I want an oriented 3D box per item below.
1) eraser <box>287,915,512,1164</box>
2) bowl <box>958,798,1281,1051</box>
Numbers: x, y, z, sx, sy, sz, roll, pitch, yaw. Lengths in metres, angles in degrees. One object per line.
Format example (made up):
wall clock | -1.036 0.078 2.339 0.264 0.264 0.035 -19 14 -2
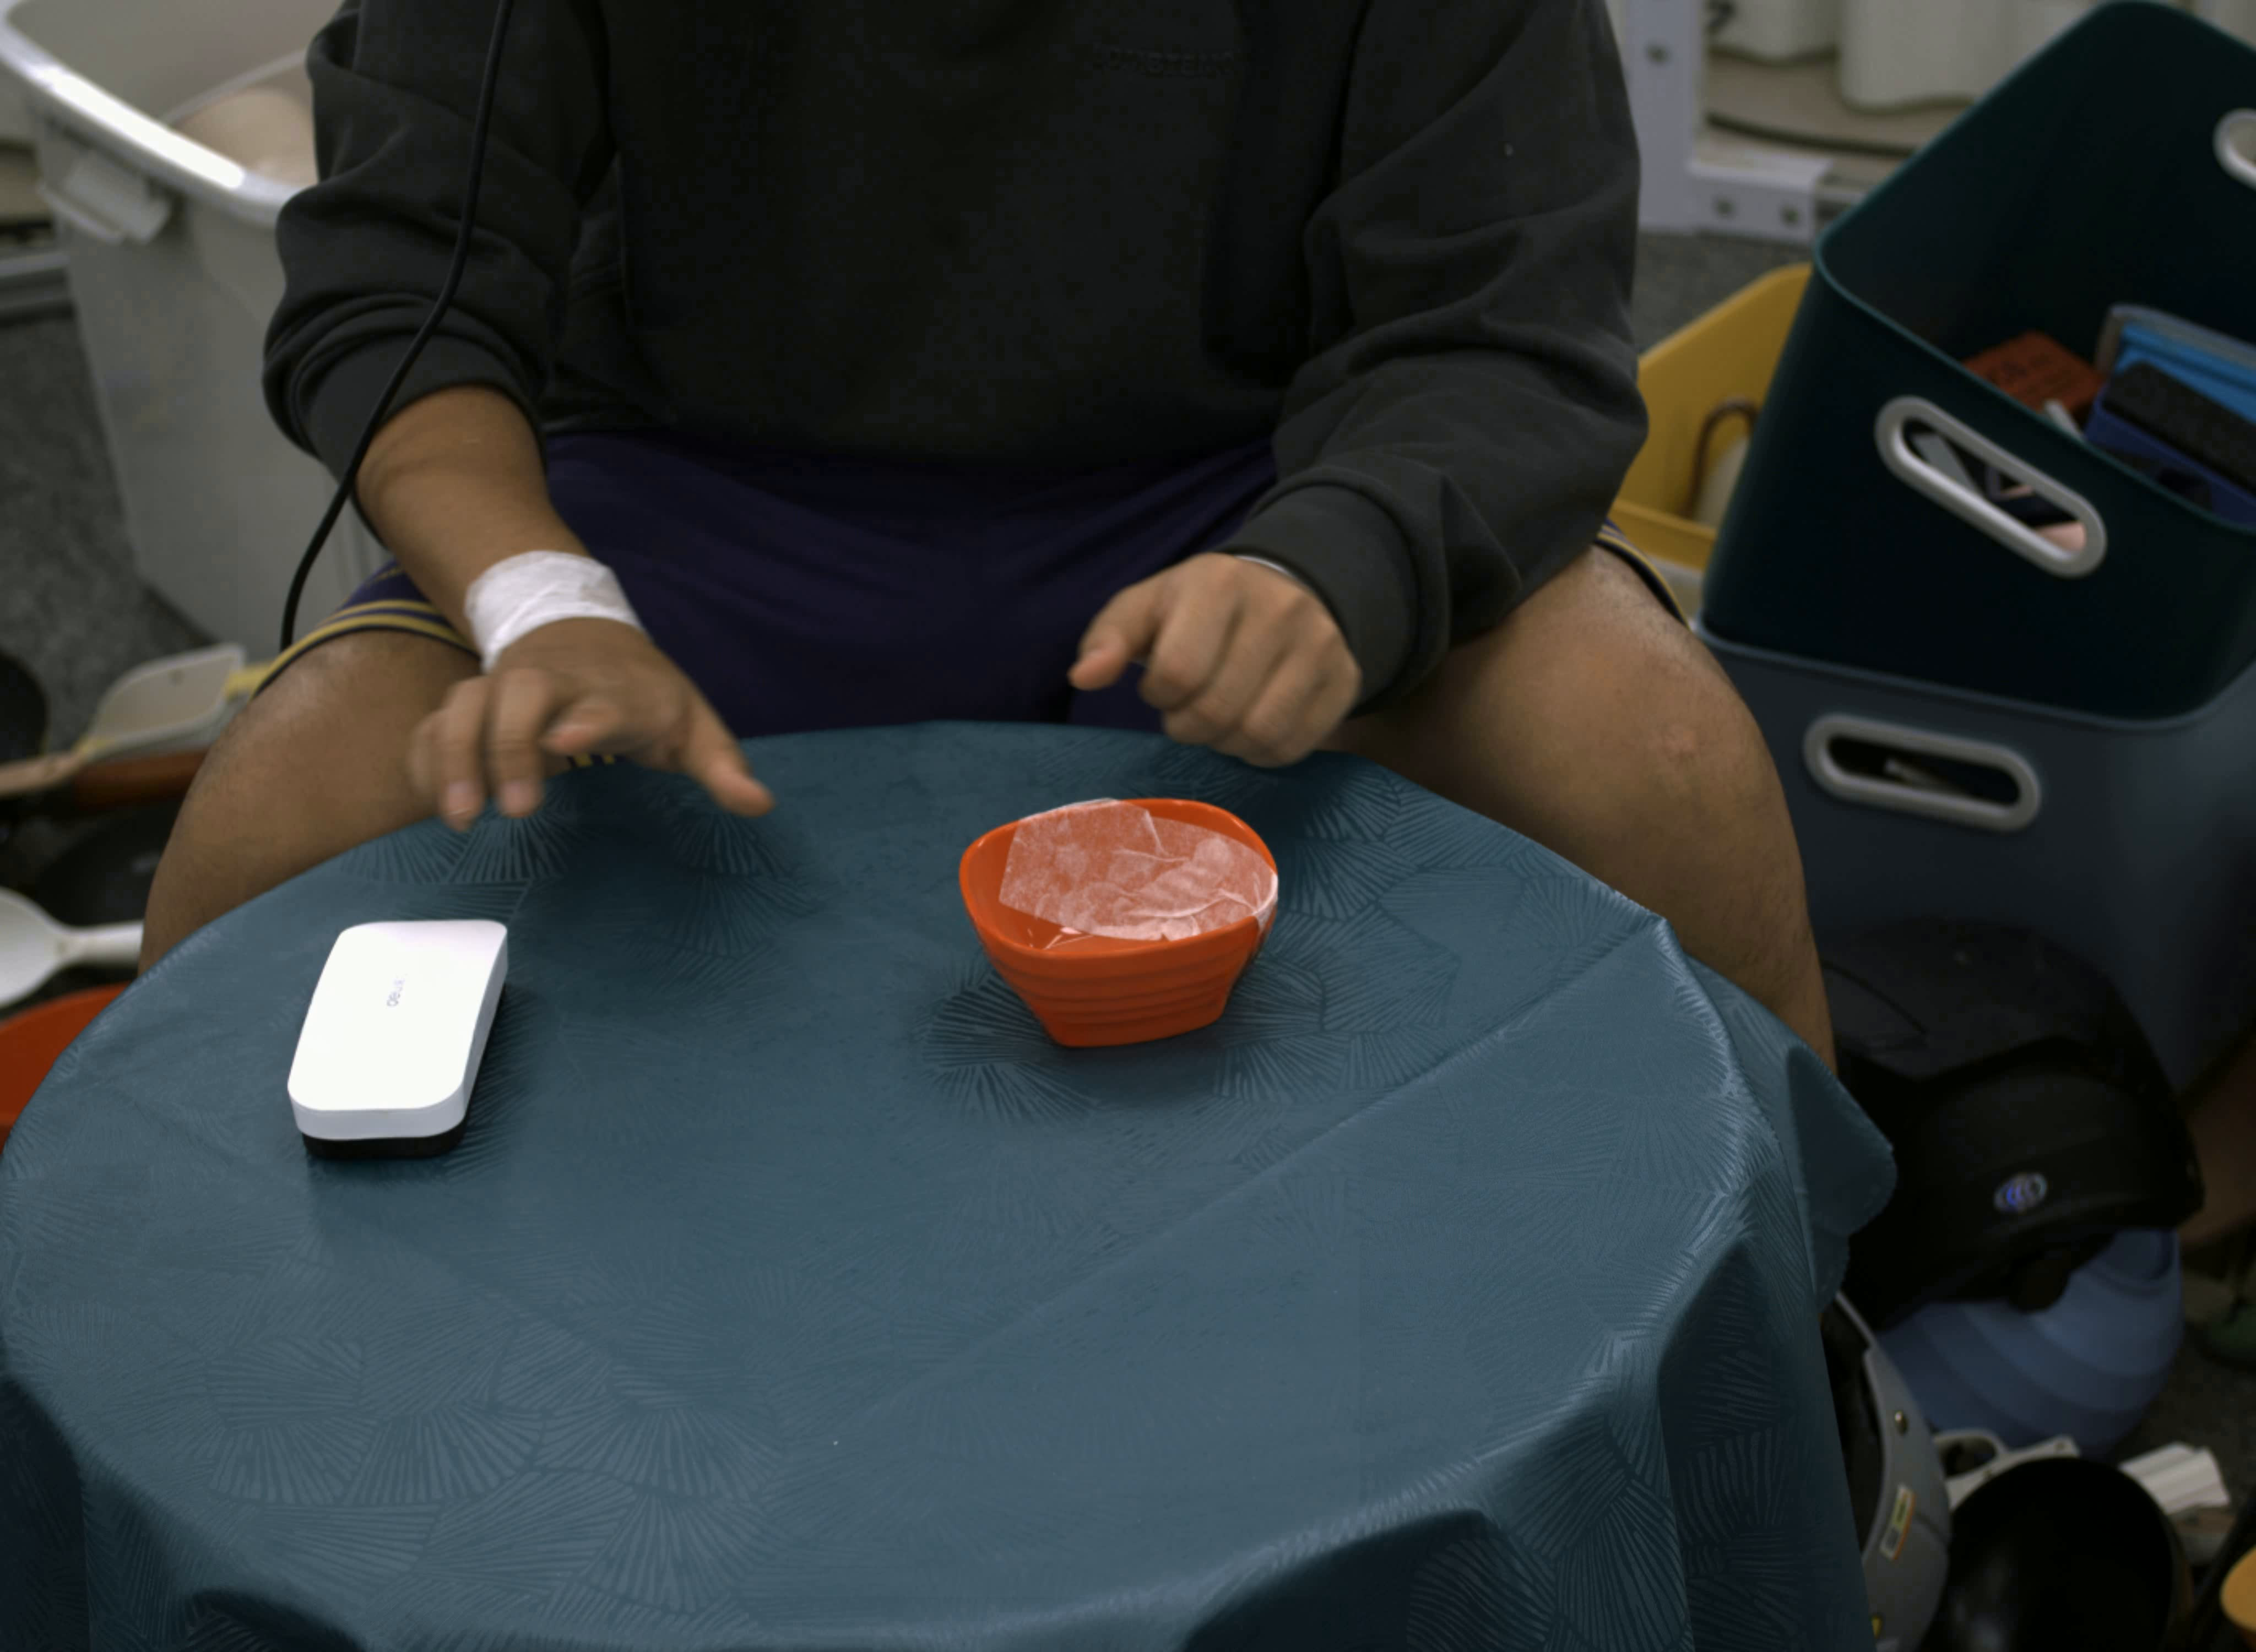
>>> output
eraser | -0.250 0.071 1.950 0.063 0.034 0.133 1 29 5
bowl | -0.002 0.039 1.968 0.118 0.051 0.121 -3 27 2
